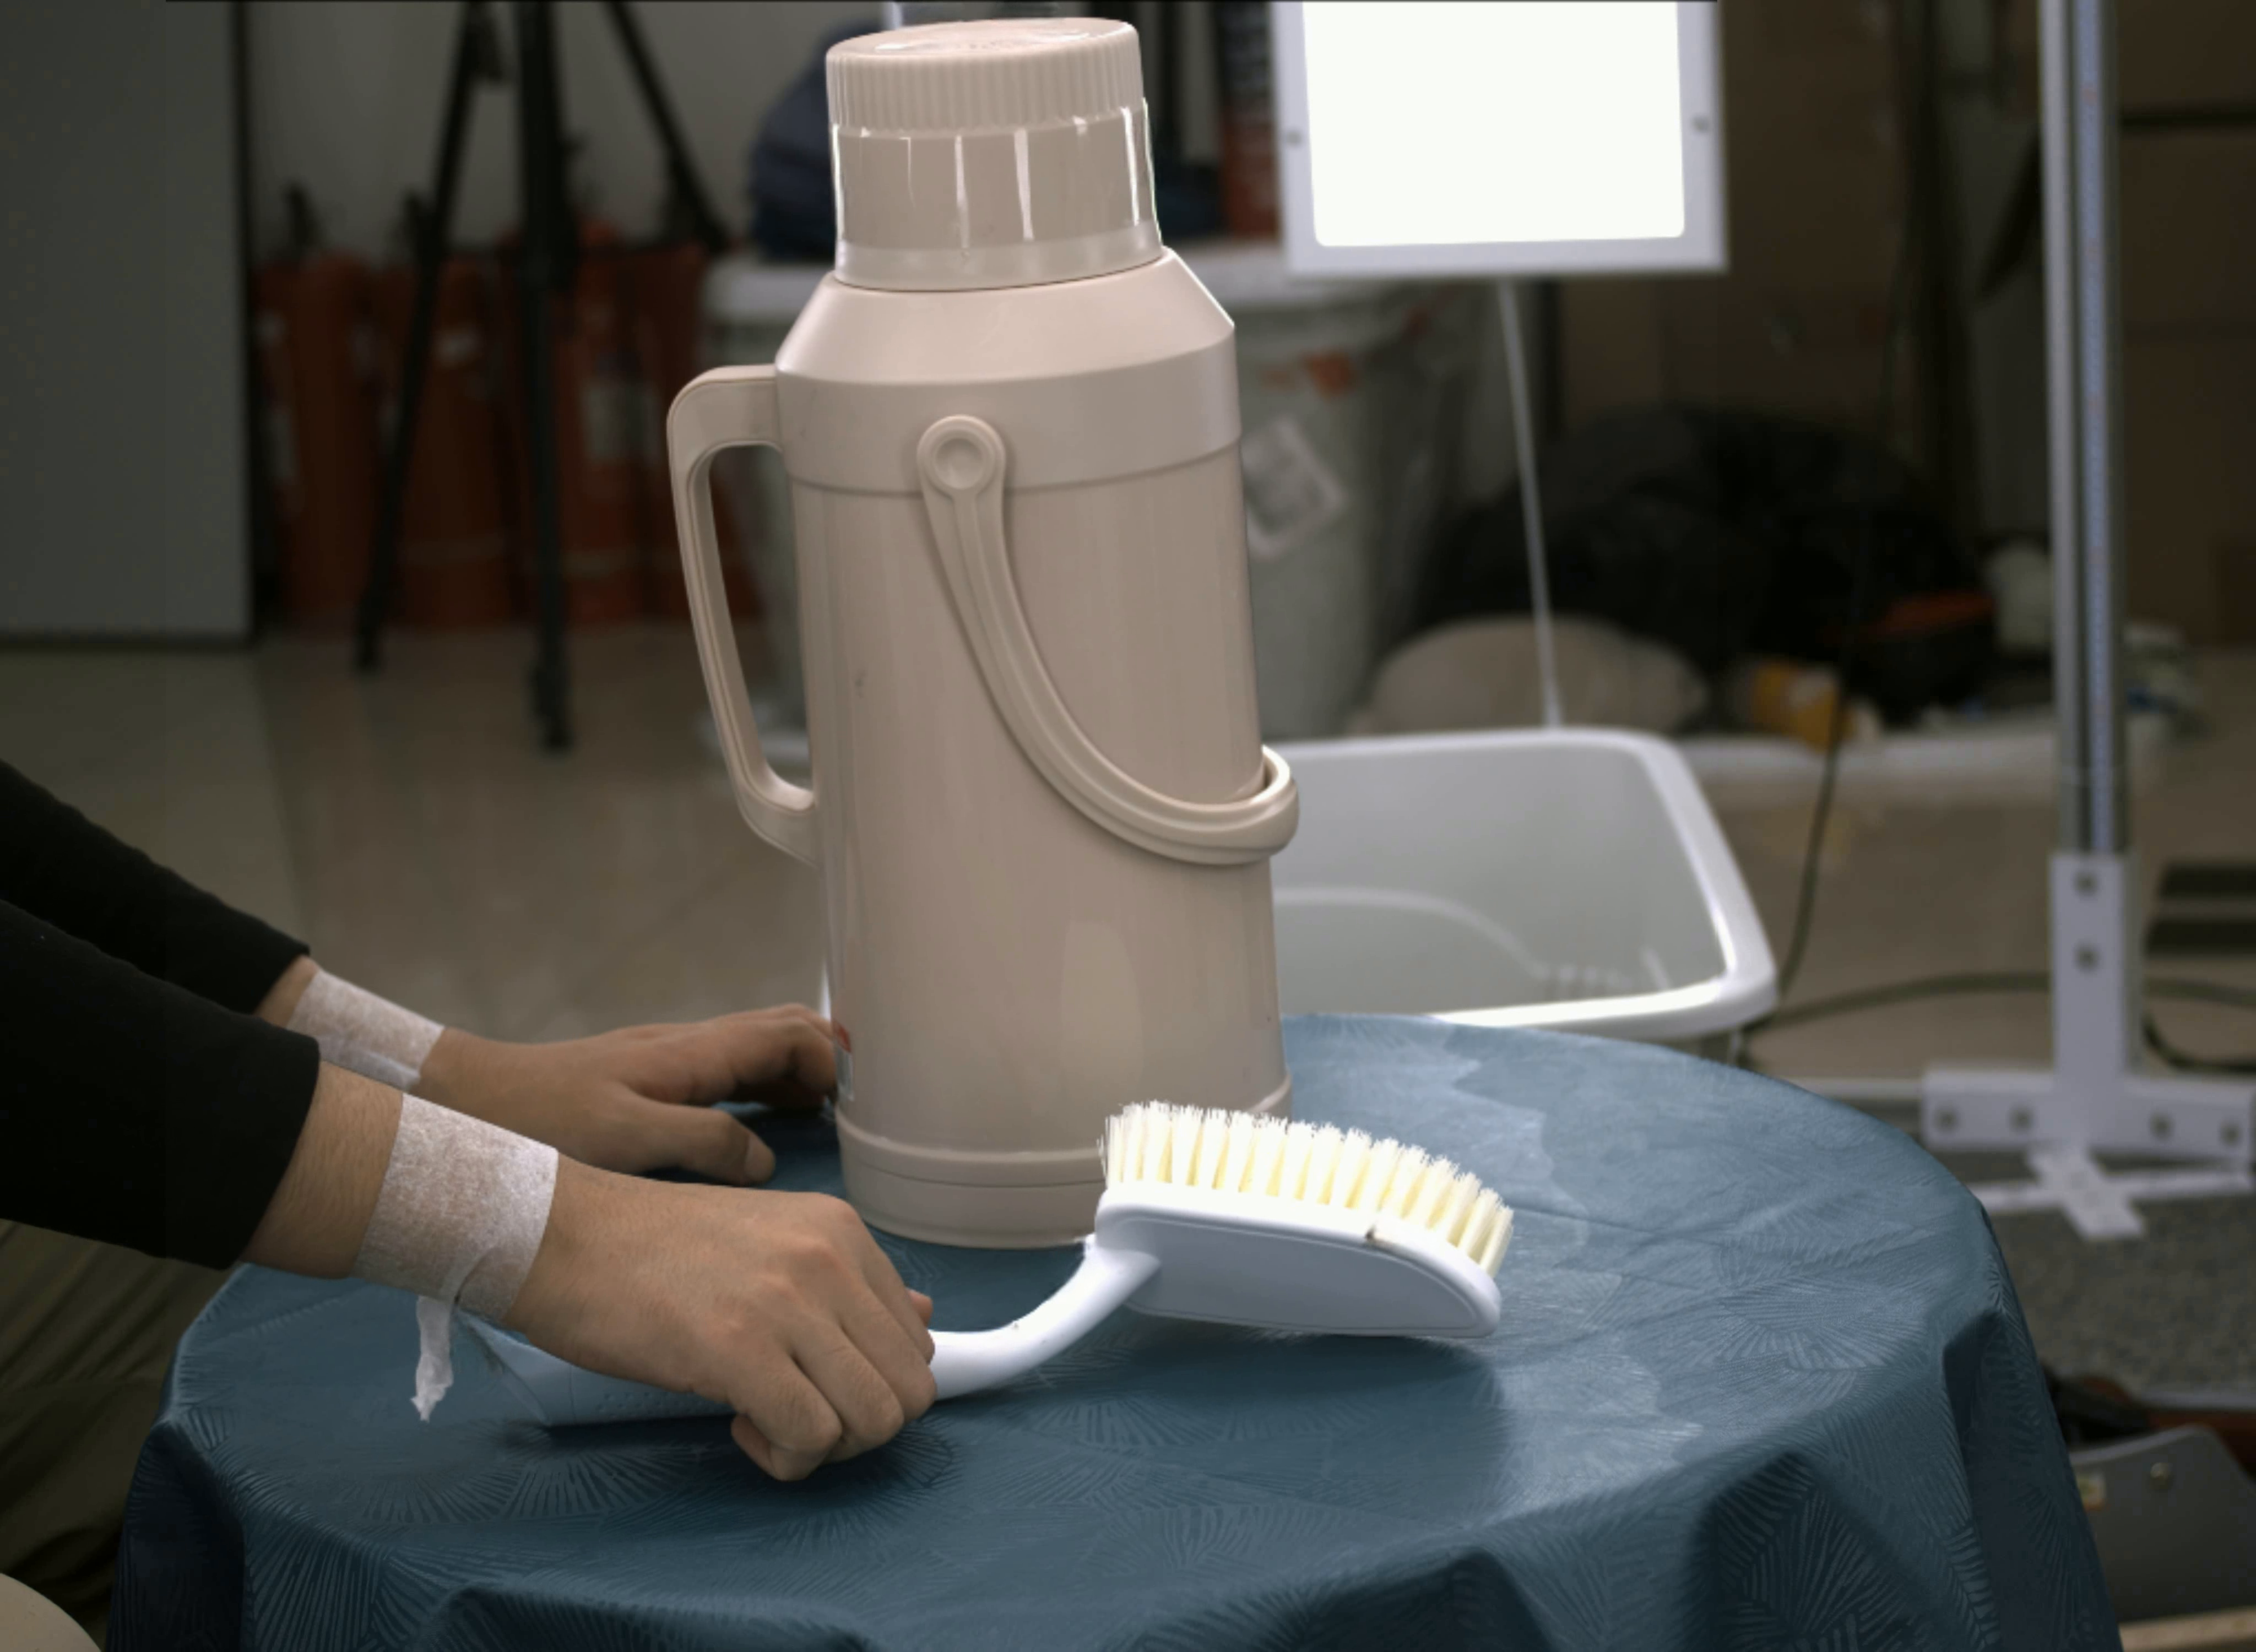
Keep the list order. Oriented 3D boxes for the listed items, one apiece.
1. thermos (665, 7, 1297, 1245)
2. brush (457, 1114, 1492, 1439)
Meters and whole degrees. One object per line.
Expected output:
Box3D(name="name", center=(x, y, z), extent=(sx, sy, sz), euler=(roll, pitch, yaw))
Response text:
Box3D(name="thermos", center=(-0.049, -0.069, 1.879), extent=(0.208, 0.408, 0.173), euler=(-1, 16, 11))
Box3D(name="brush", center=(-0.048, 0.134, 1.724), extent=(0.325, 0.083, 0.084), euler=(-4, 16, 3))
